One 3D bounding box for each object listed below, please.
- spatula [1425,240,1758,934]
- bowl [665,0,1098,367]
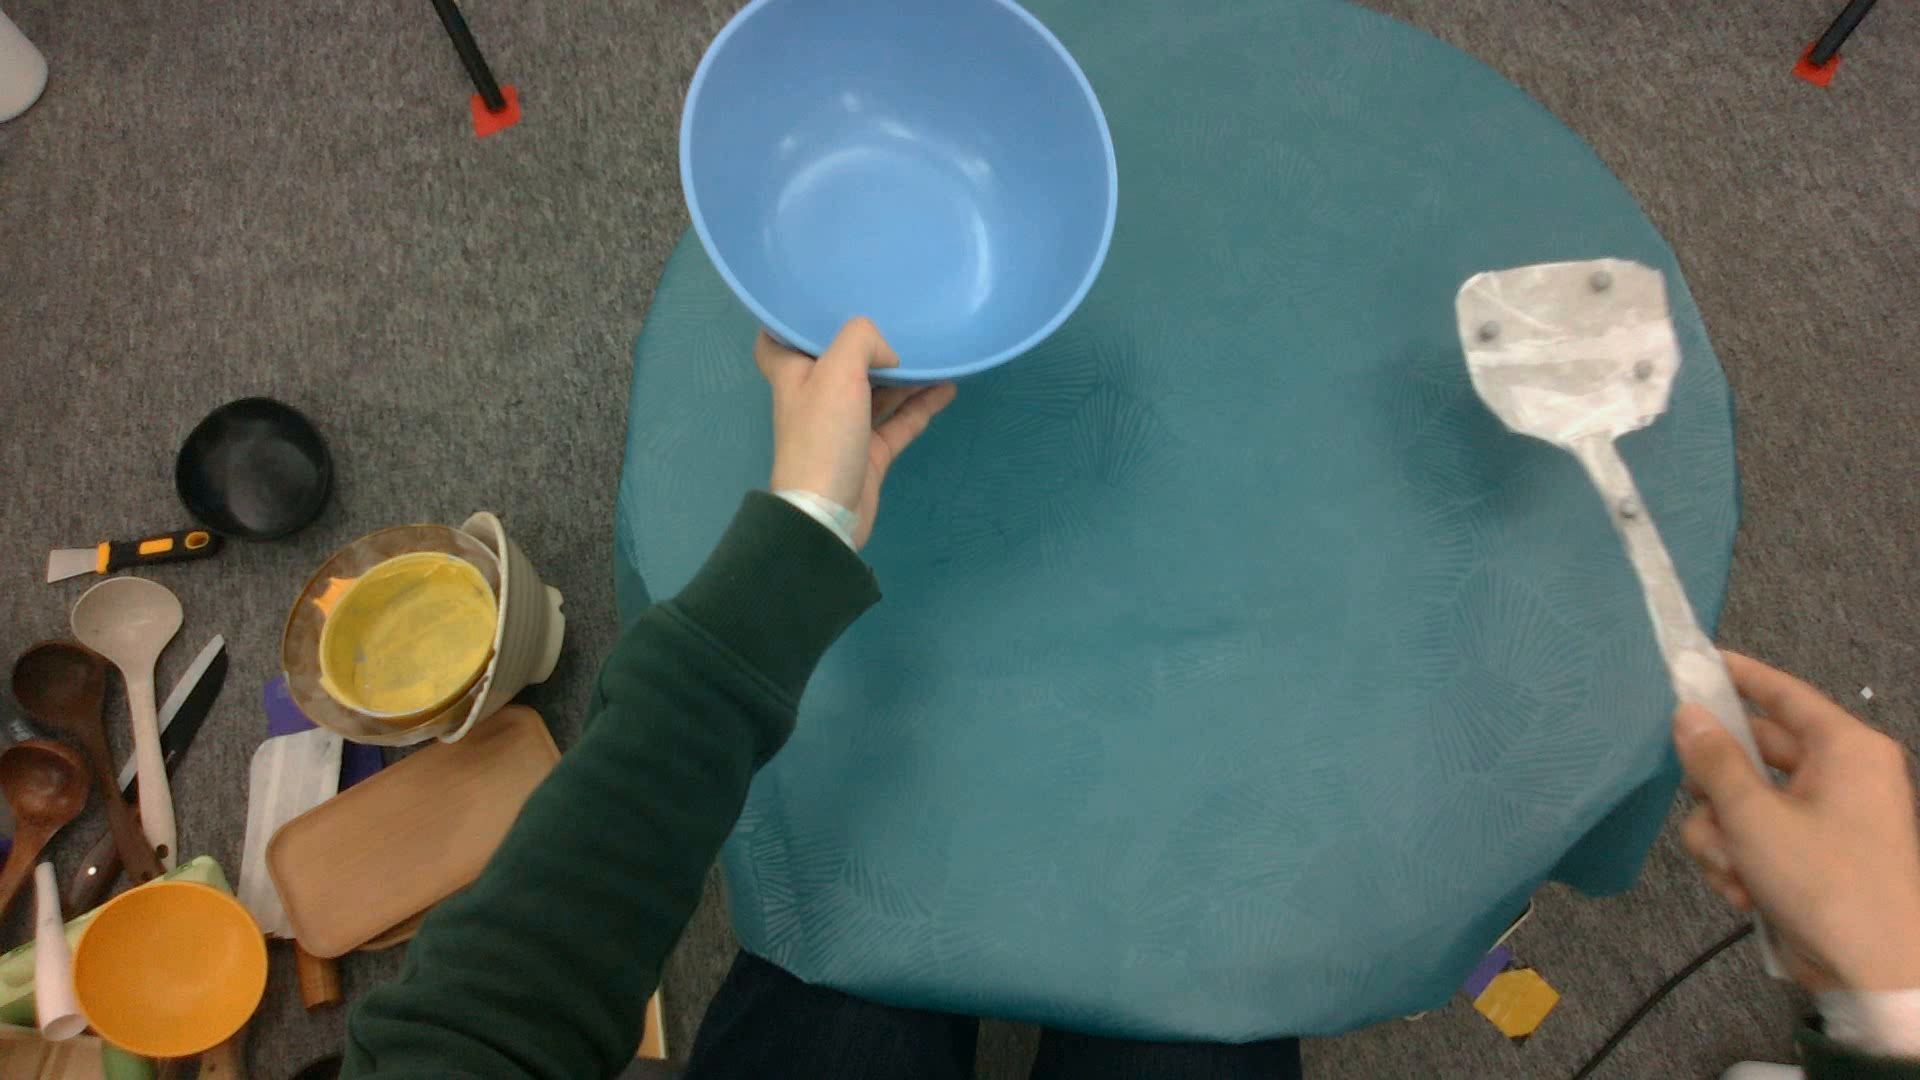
[{"bbox_3d":[0.275,-0.009,0.585,0.098,0.044,0.366,-2,44,6],"label":"spatula"},{"bbox_3d":[-0.042,-0.165,0.656,0.197,0.095,0.197,3,77,-13],"label":"bowl"}]
